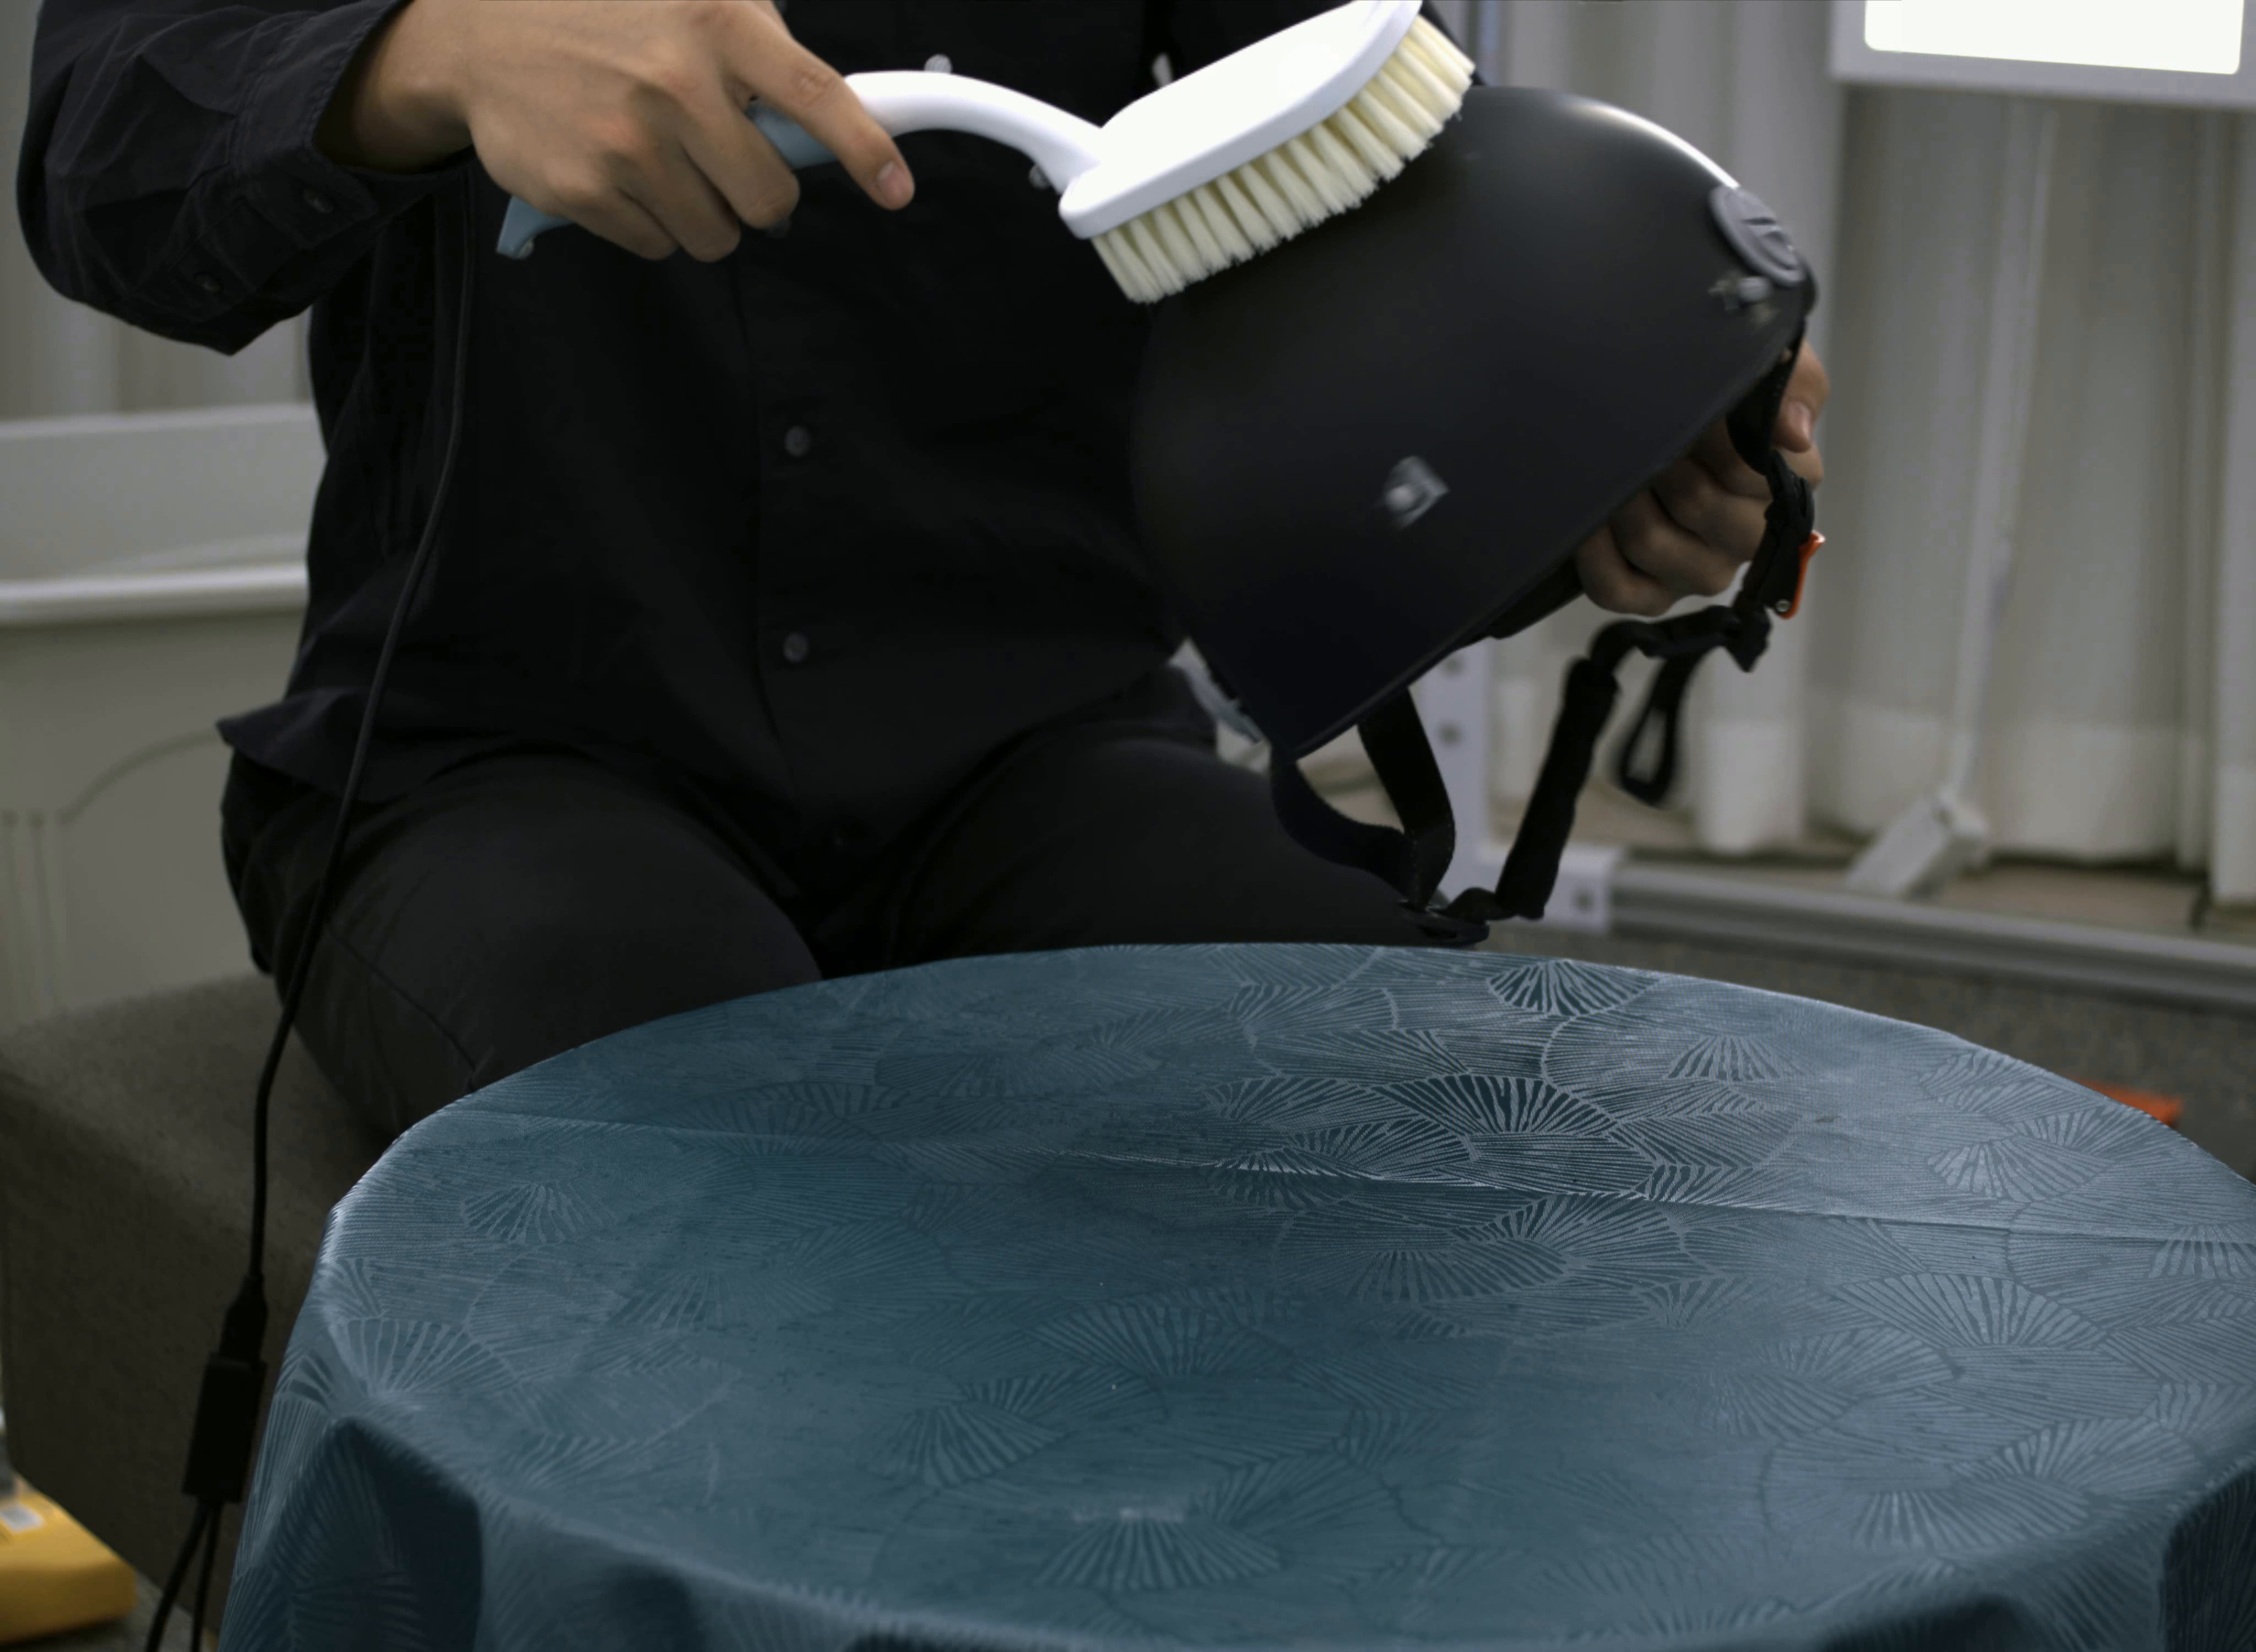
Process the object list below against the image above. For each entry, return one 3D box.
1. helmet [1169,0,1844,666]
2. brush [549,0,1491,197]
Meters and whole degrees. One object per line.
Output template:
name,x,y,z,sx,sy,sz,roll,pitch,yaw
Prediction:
helmet,0.108,-0.170,1.673,0.166,0.230,0.273,48,15,3
brush,-0.030,-0.226,1.646,0.323,0.085,0.083,-10,-3,25
